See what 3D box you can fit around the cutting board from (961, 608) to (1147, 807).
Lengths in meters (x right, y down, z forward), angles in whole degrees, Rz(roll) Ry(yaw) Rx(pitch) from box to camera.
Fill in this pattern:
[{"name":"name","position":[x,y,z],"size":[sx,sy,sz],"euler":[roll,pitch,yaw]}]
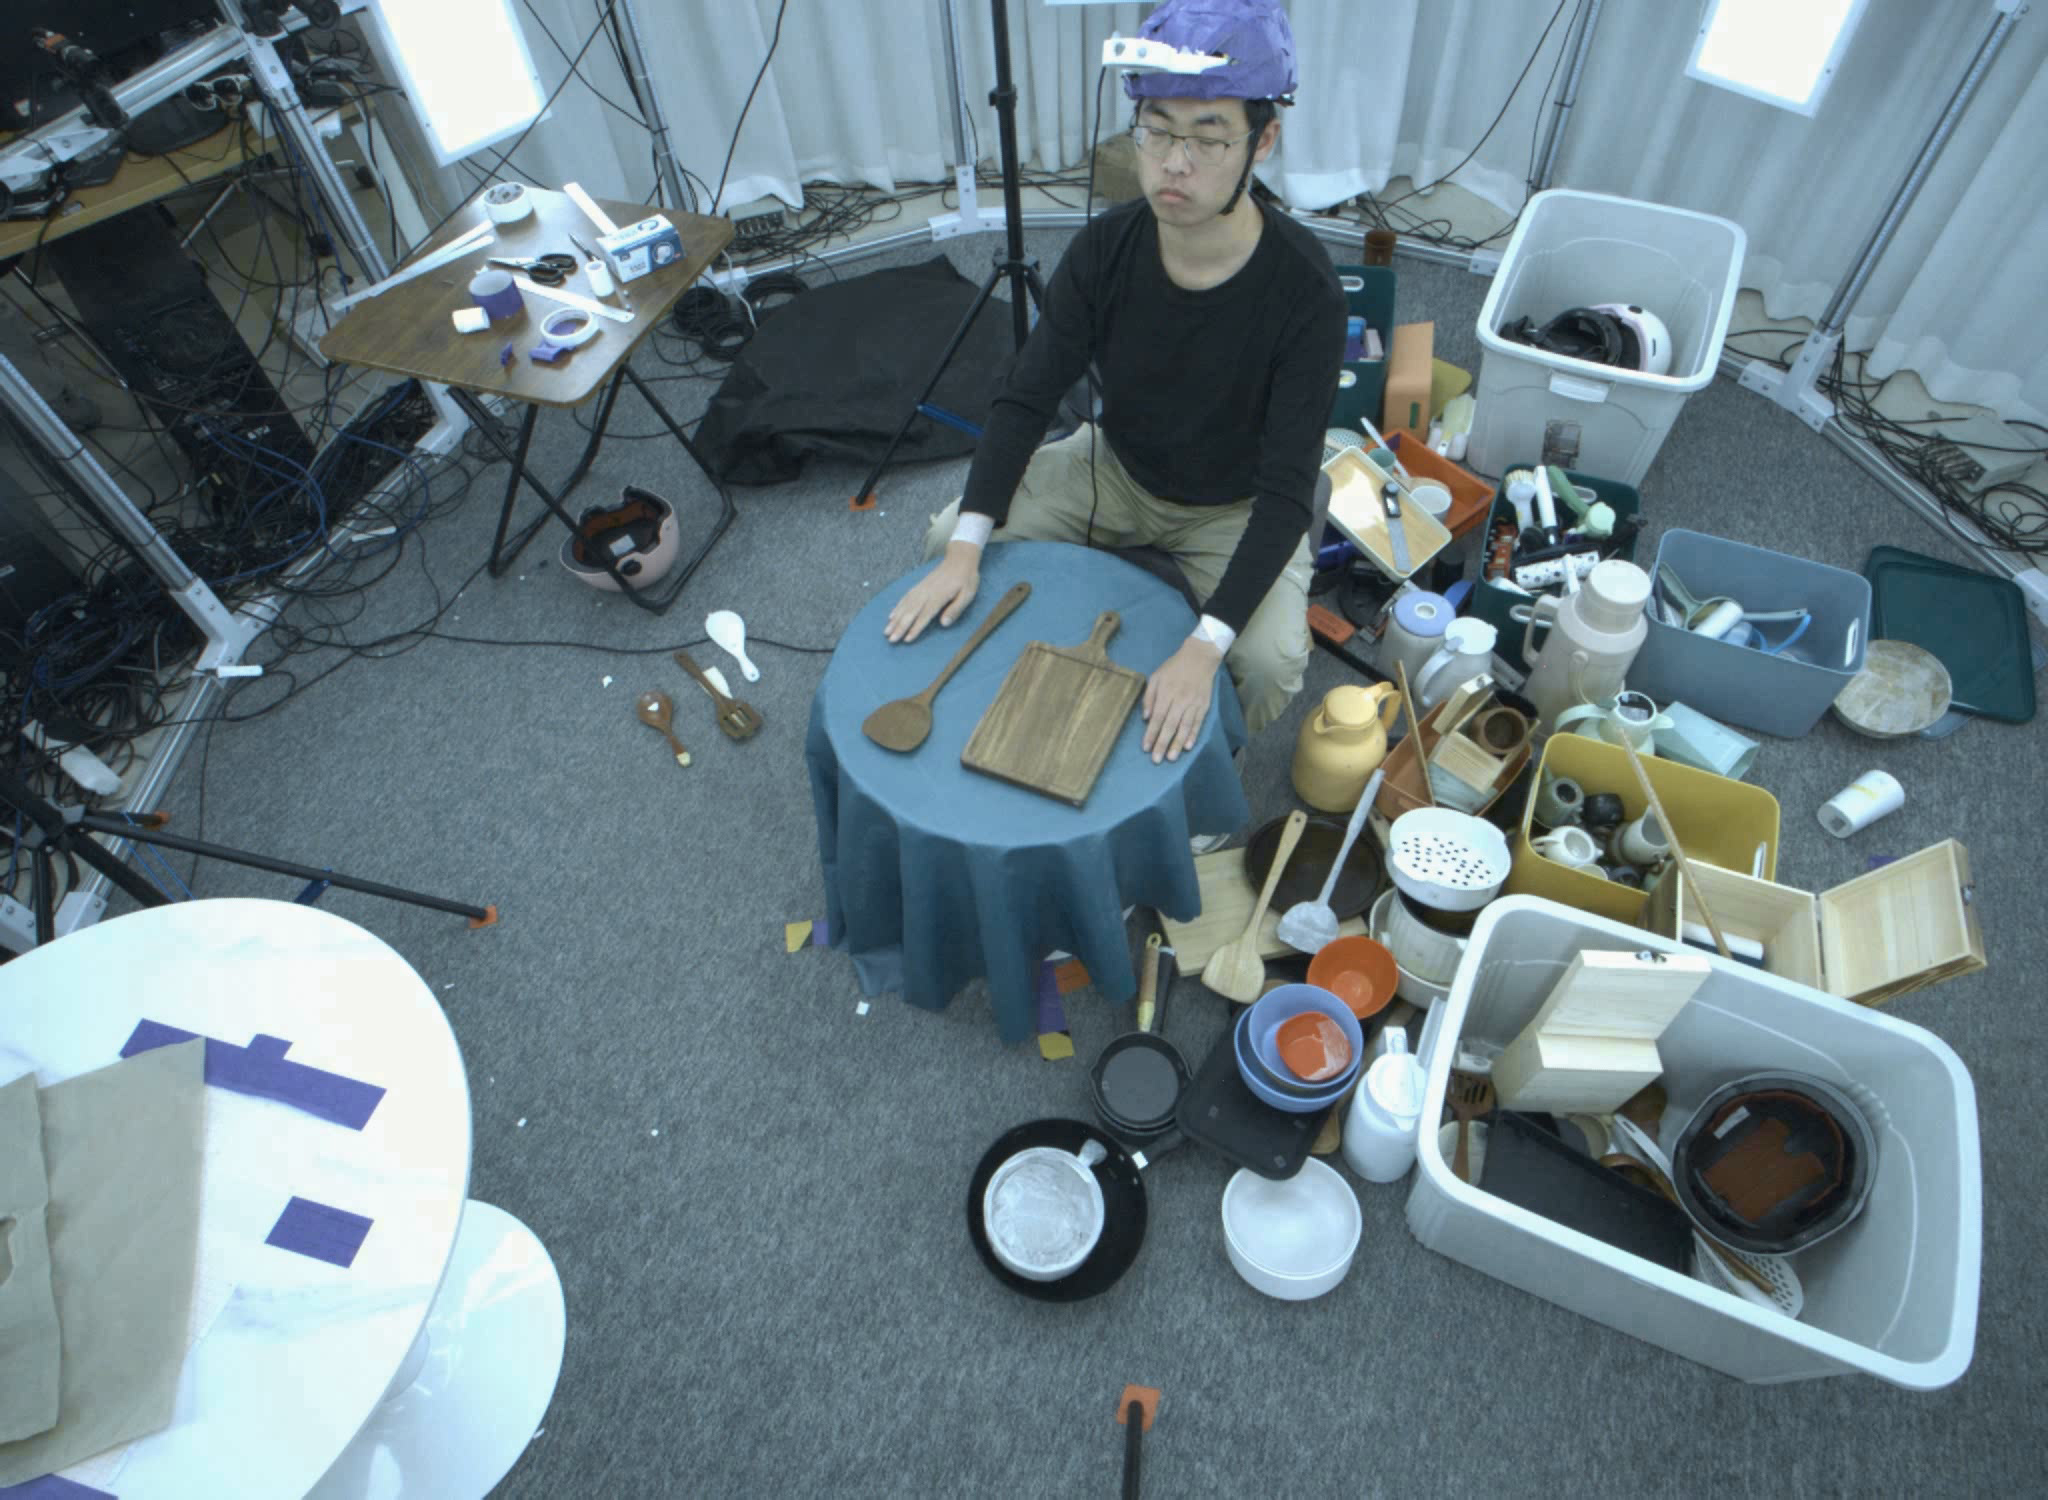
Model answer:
[{"name":"cutting board","position":[0.067,-0.082,1.830],"size":[0.199,0.023,0.352],"euler":[19,58,14]}]

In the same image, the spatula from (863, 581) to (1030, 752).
[{"name":"spatula","position":[-0.102,-0.139,1.880],"size":[0.095,0.016,0.387],"euler":[28,60,19]}]
